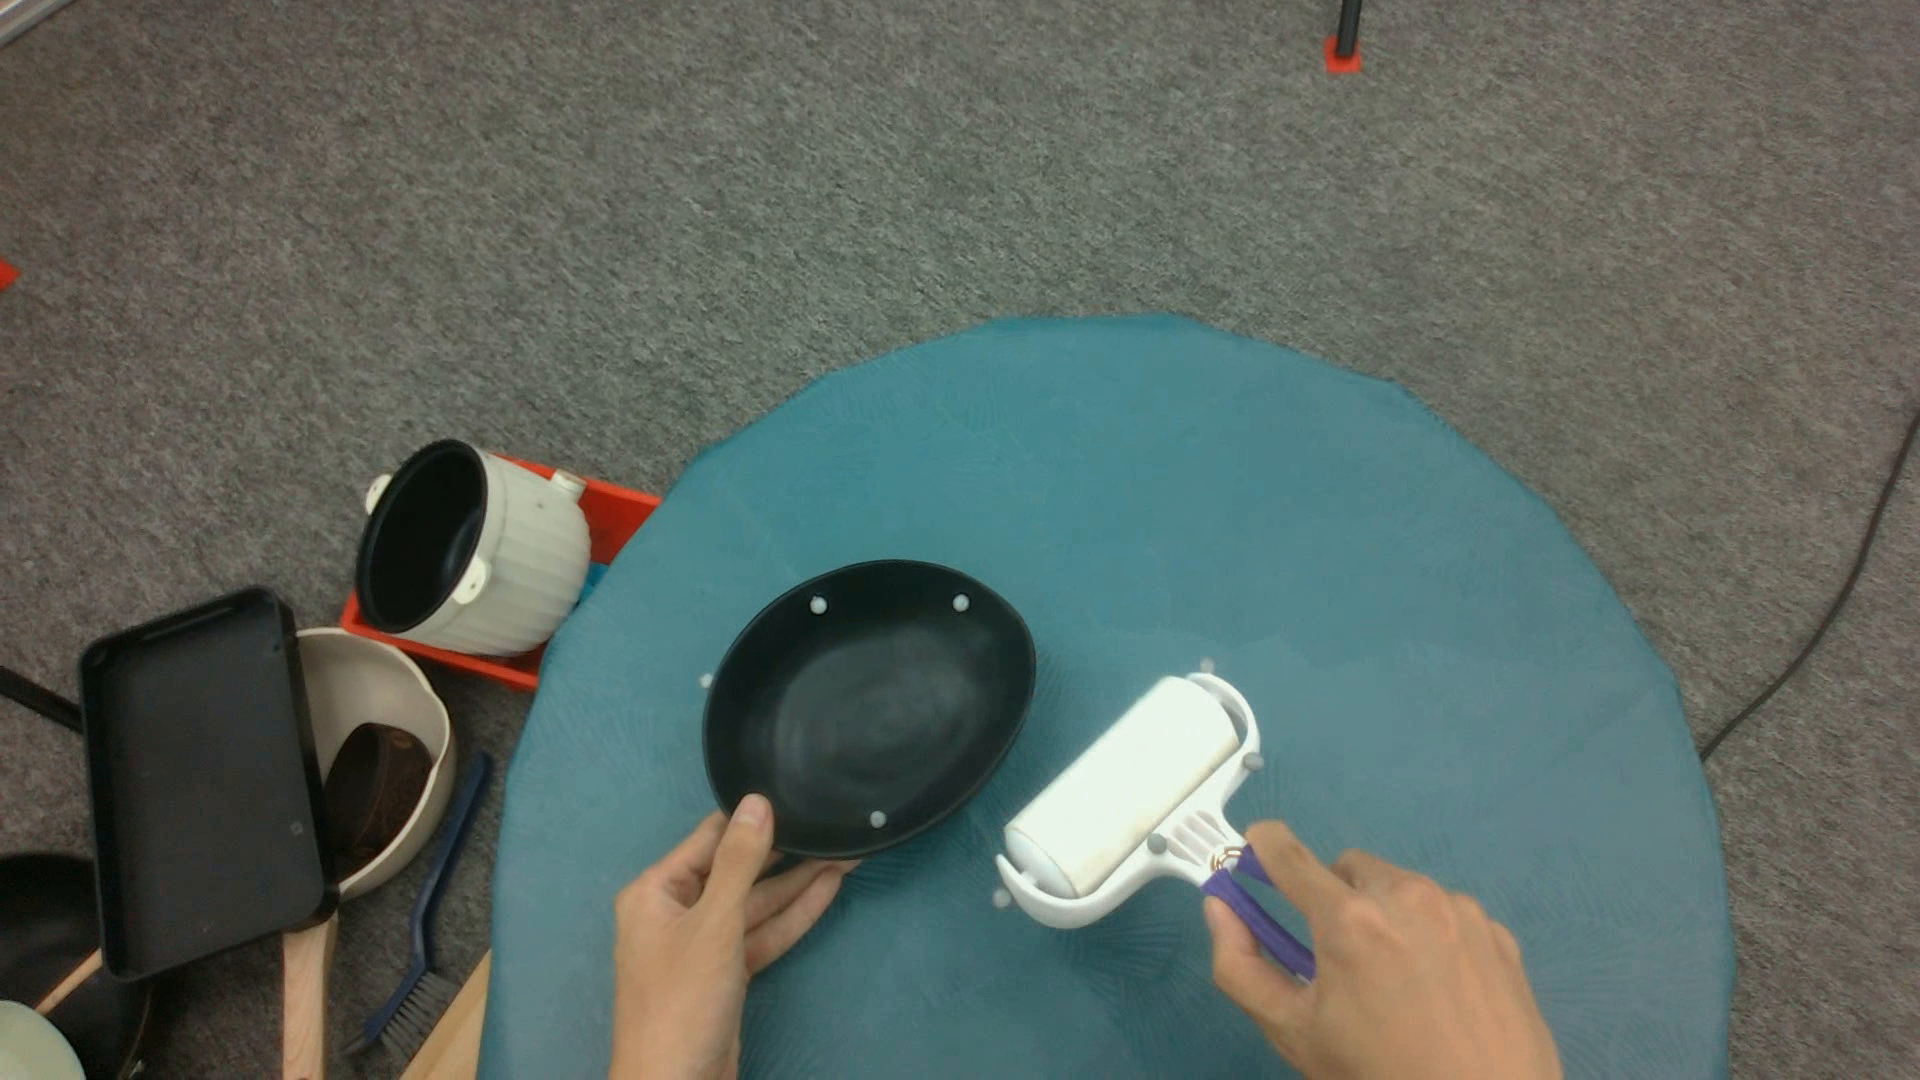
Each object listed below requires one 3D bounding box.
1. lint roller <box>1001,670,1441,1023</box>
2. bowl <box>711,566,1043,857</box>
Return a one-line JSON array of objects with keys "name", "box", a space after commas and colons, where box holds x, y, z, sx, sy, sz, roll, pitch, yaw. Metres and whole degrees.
[{"name": "lint roller", "box": [0.110, 0.130, 0.554, 0.133, 0.050, 0.181, -38, 38, -19]}, {"name": "bowl", "box": [-0.039, 0.088, 0.689, 0.170, 0.066, 0.137, -34, 69, -13]}]
